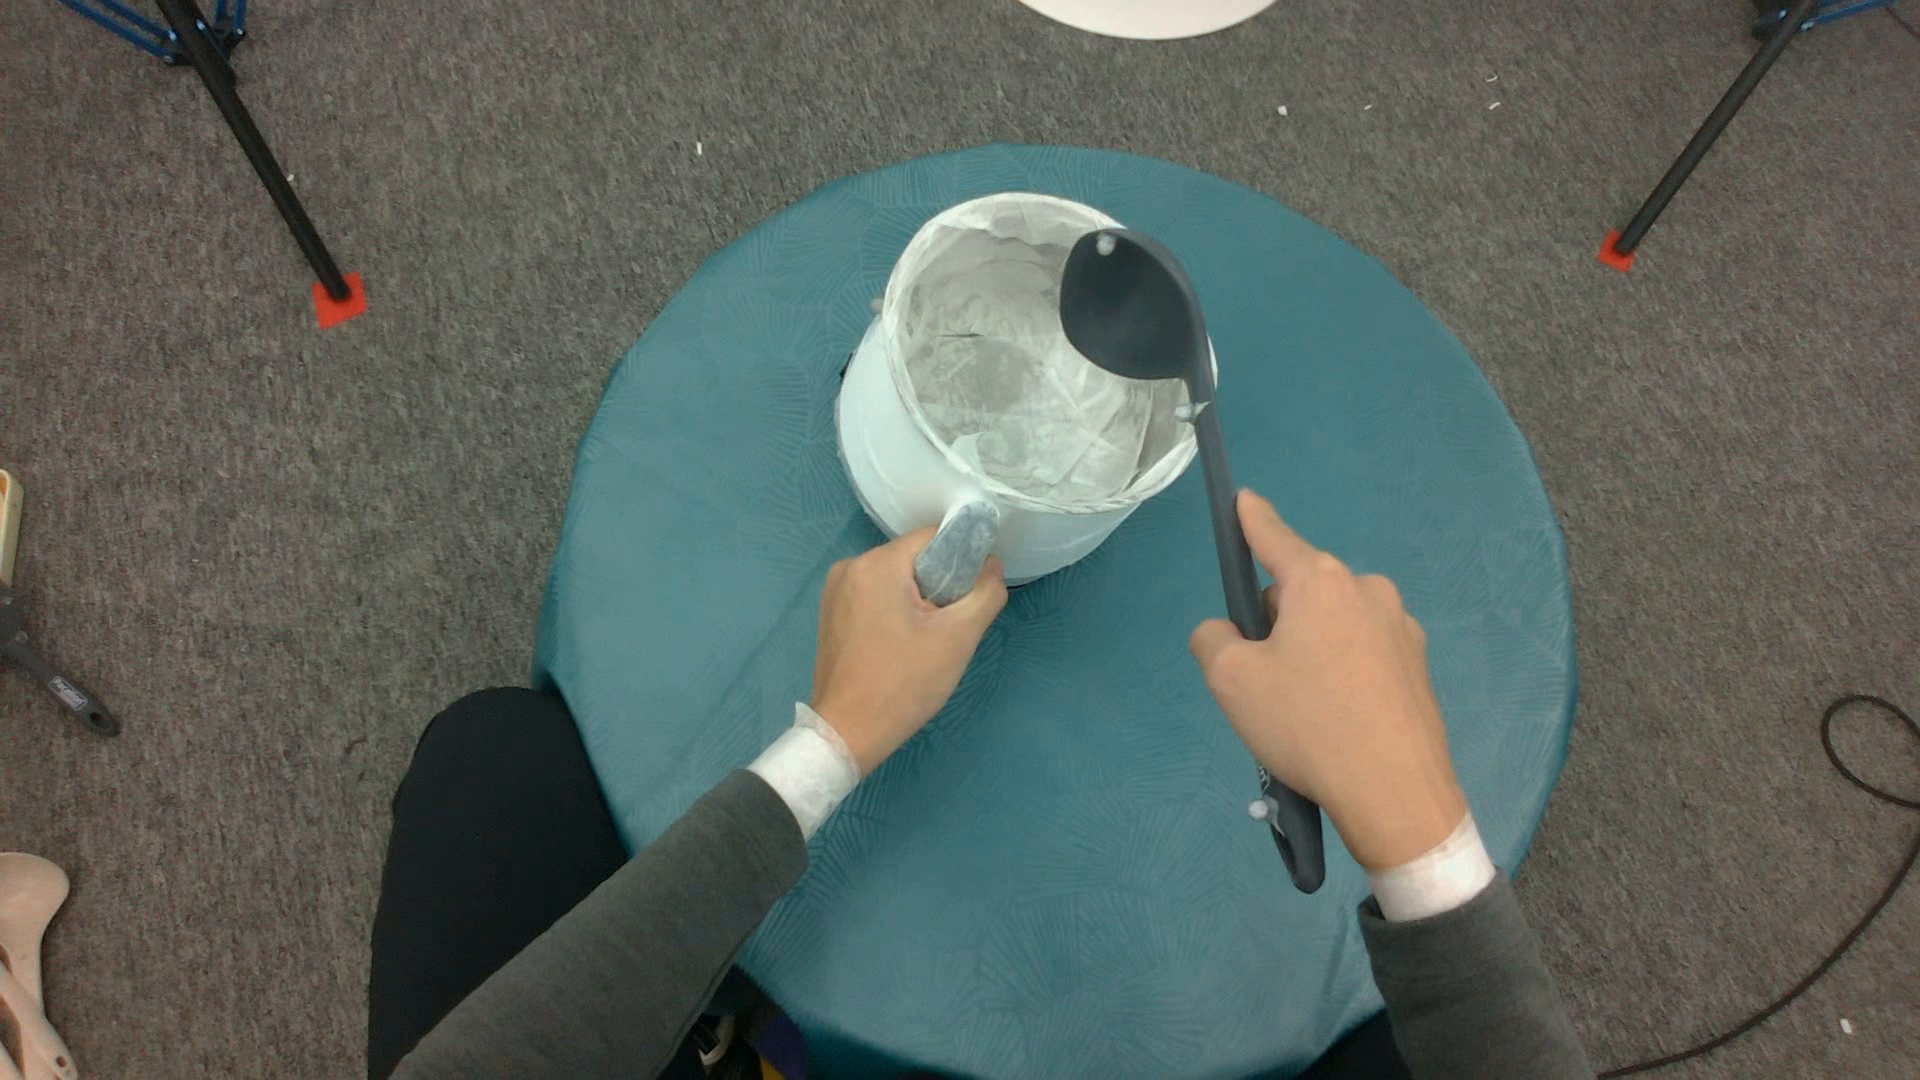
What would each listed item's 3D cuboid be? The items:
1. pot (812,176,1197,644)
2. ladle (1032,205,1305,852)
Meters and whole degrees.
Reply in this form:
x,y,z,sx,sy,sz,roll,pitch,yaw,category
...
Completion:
x,y,z,sx,sy,sz,roll,pitch,yaw,category
0.009,-0.060,0.725,0.179,0.136,0.235,26,63,-8,pot
0.083,-0.015,0.591,0.064,0.086,0.315,-6,58,-2,ladle
